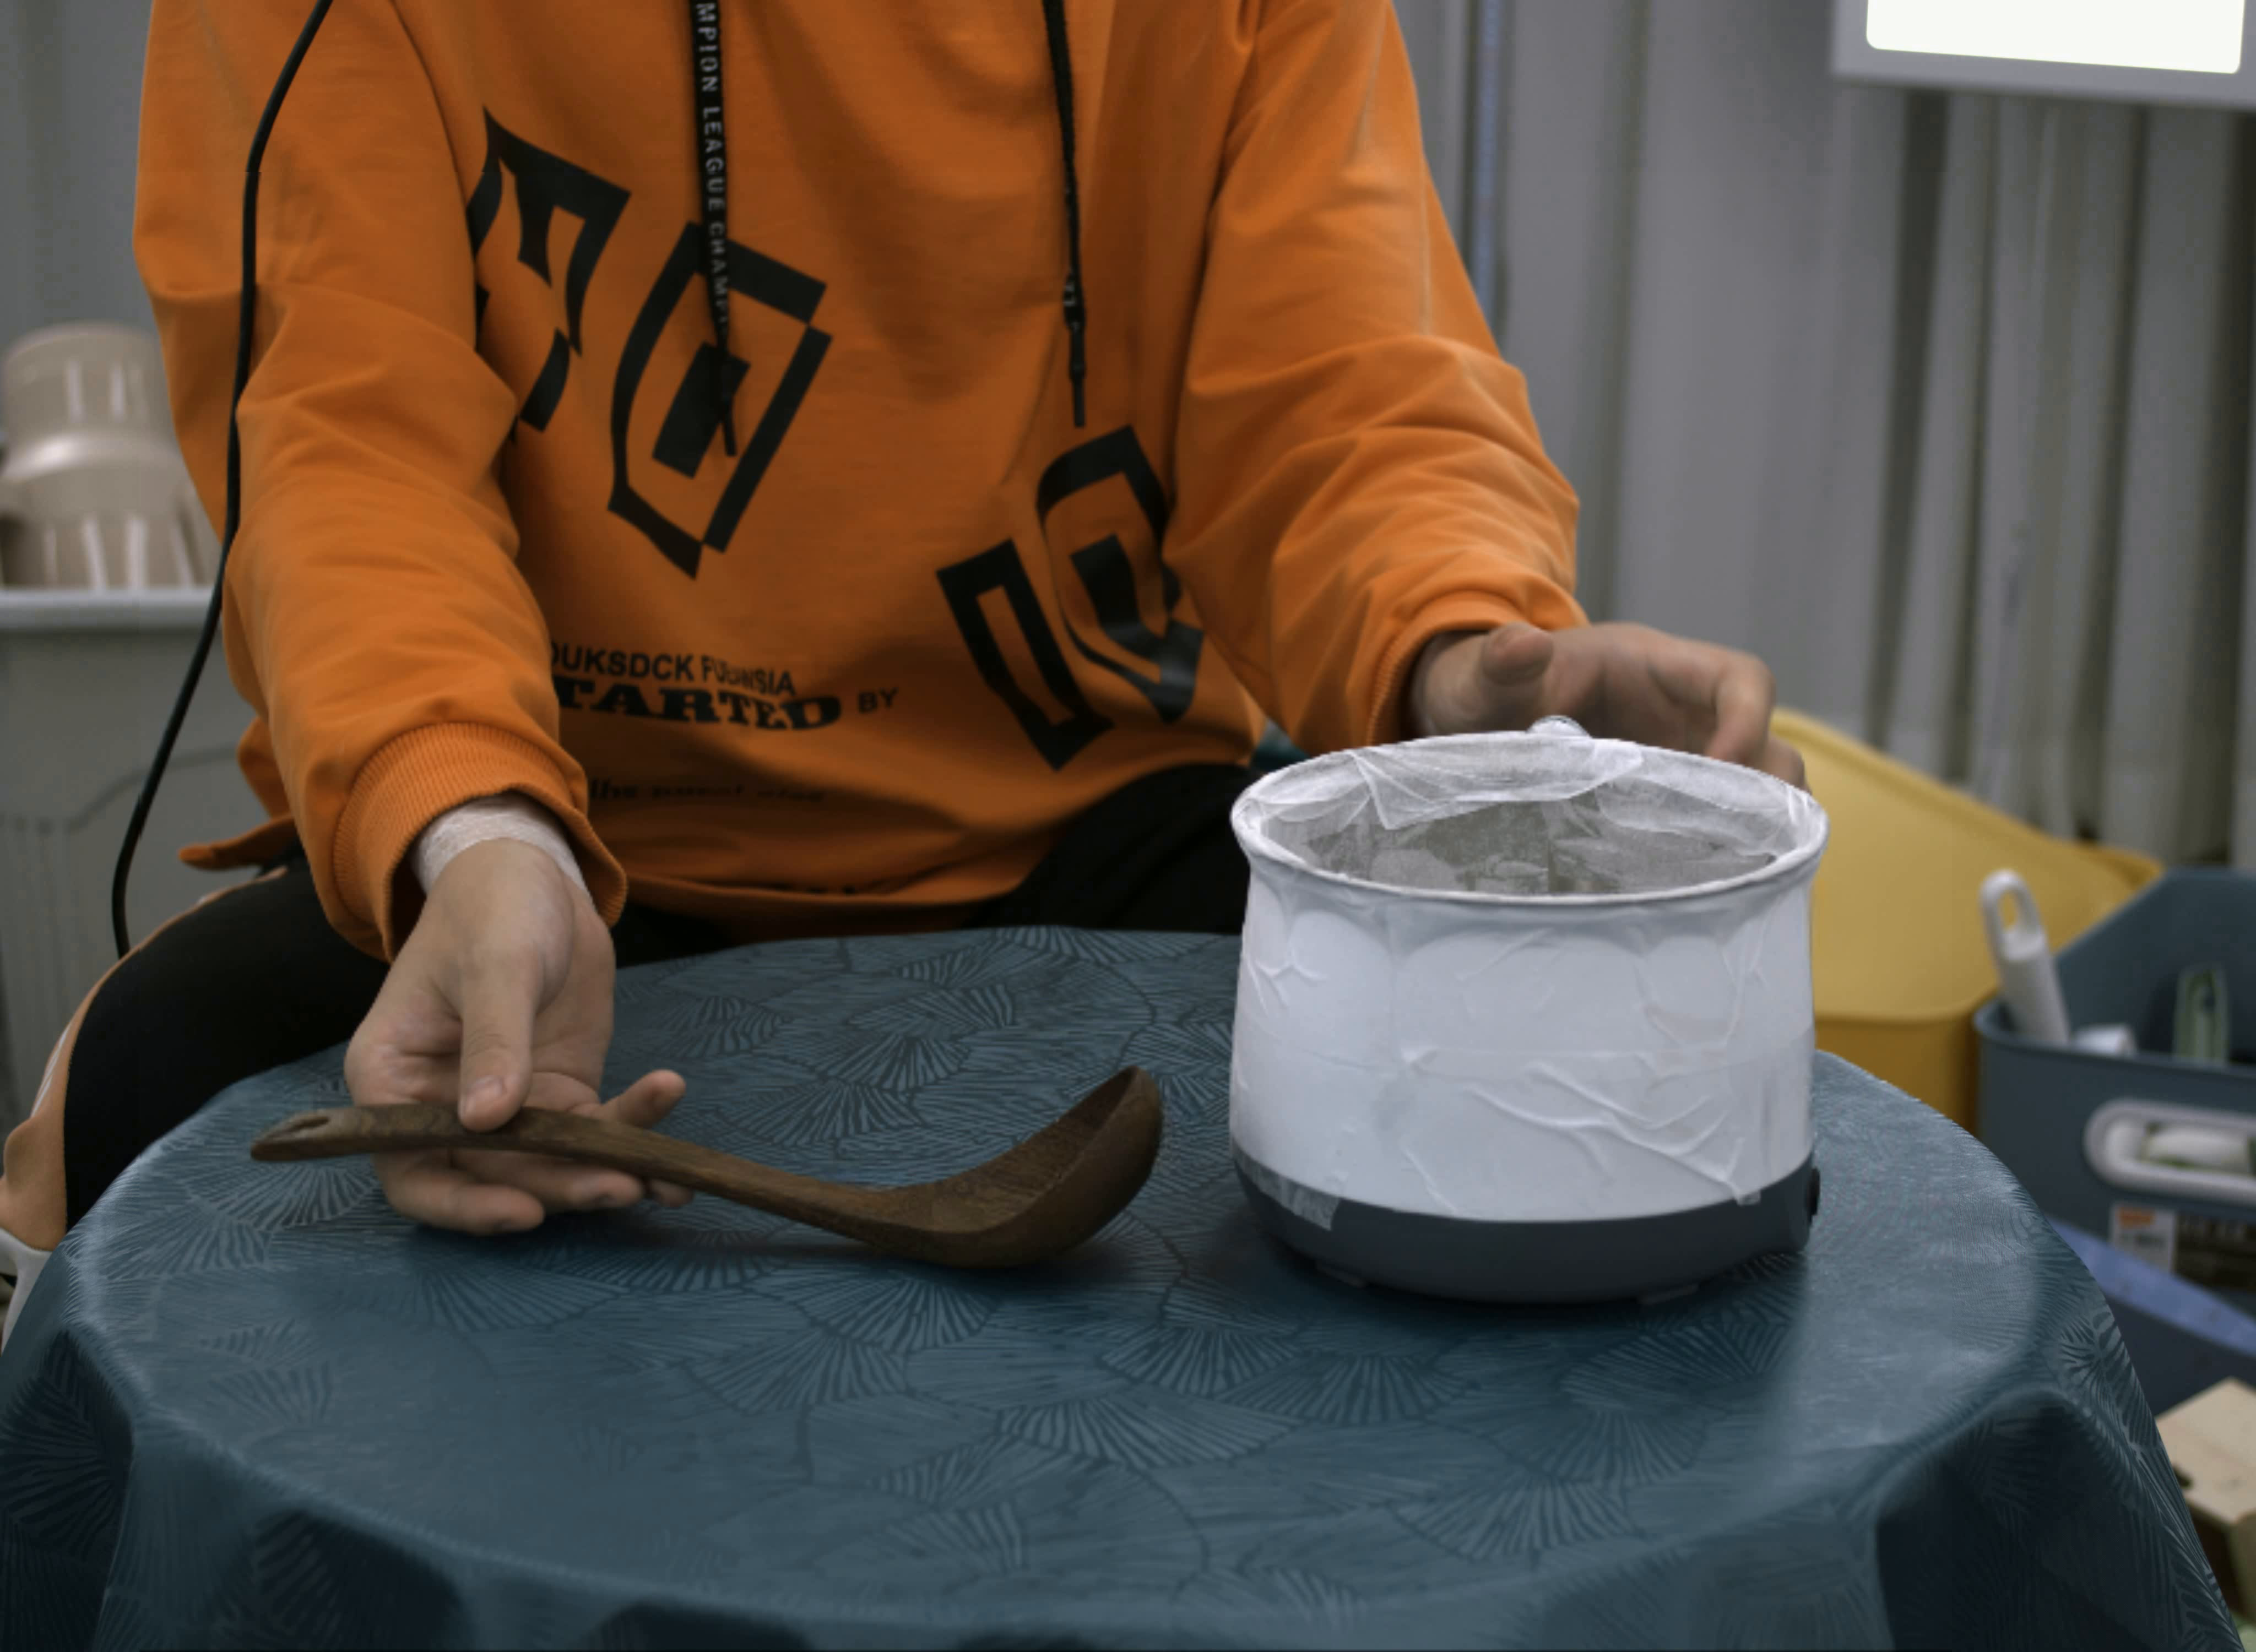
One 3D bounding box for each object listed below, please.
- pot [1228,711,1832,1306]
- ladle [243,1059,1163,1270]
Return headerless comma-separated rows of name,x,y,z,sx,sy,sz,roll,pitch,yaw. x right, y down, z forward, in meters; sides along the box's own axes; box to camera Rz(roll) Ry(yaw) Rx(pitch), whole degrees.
pot,0.122,0.049,1.595,0.178,0.138,0.233,3,16,6
ladle,-0.126,0.084,1.560,0.273,0.072,0.076,9,15,5
